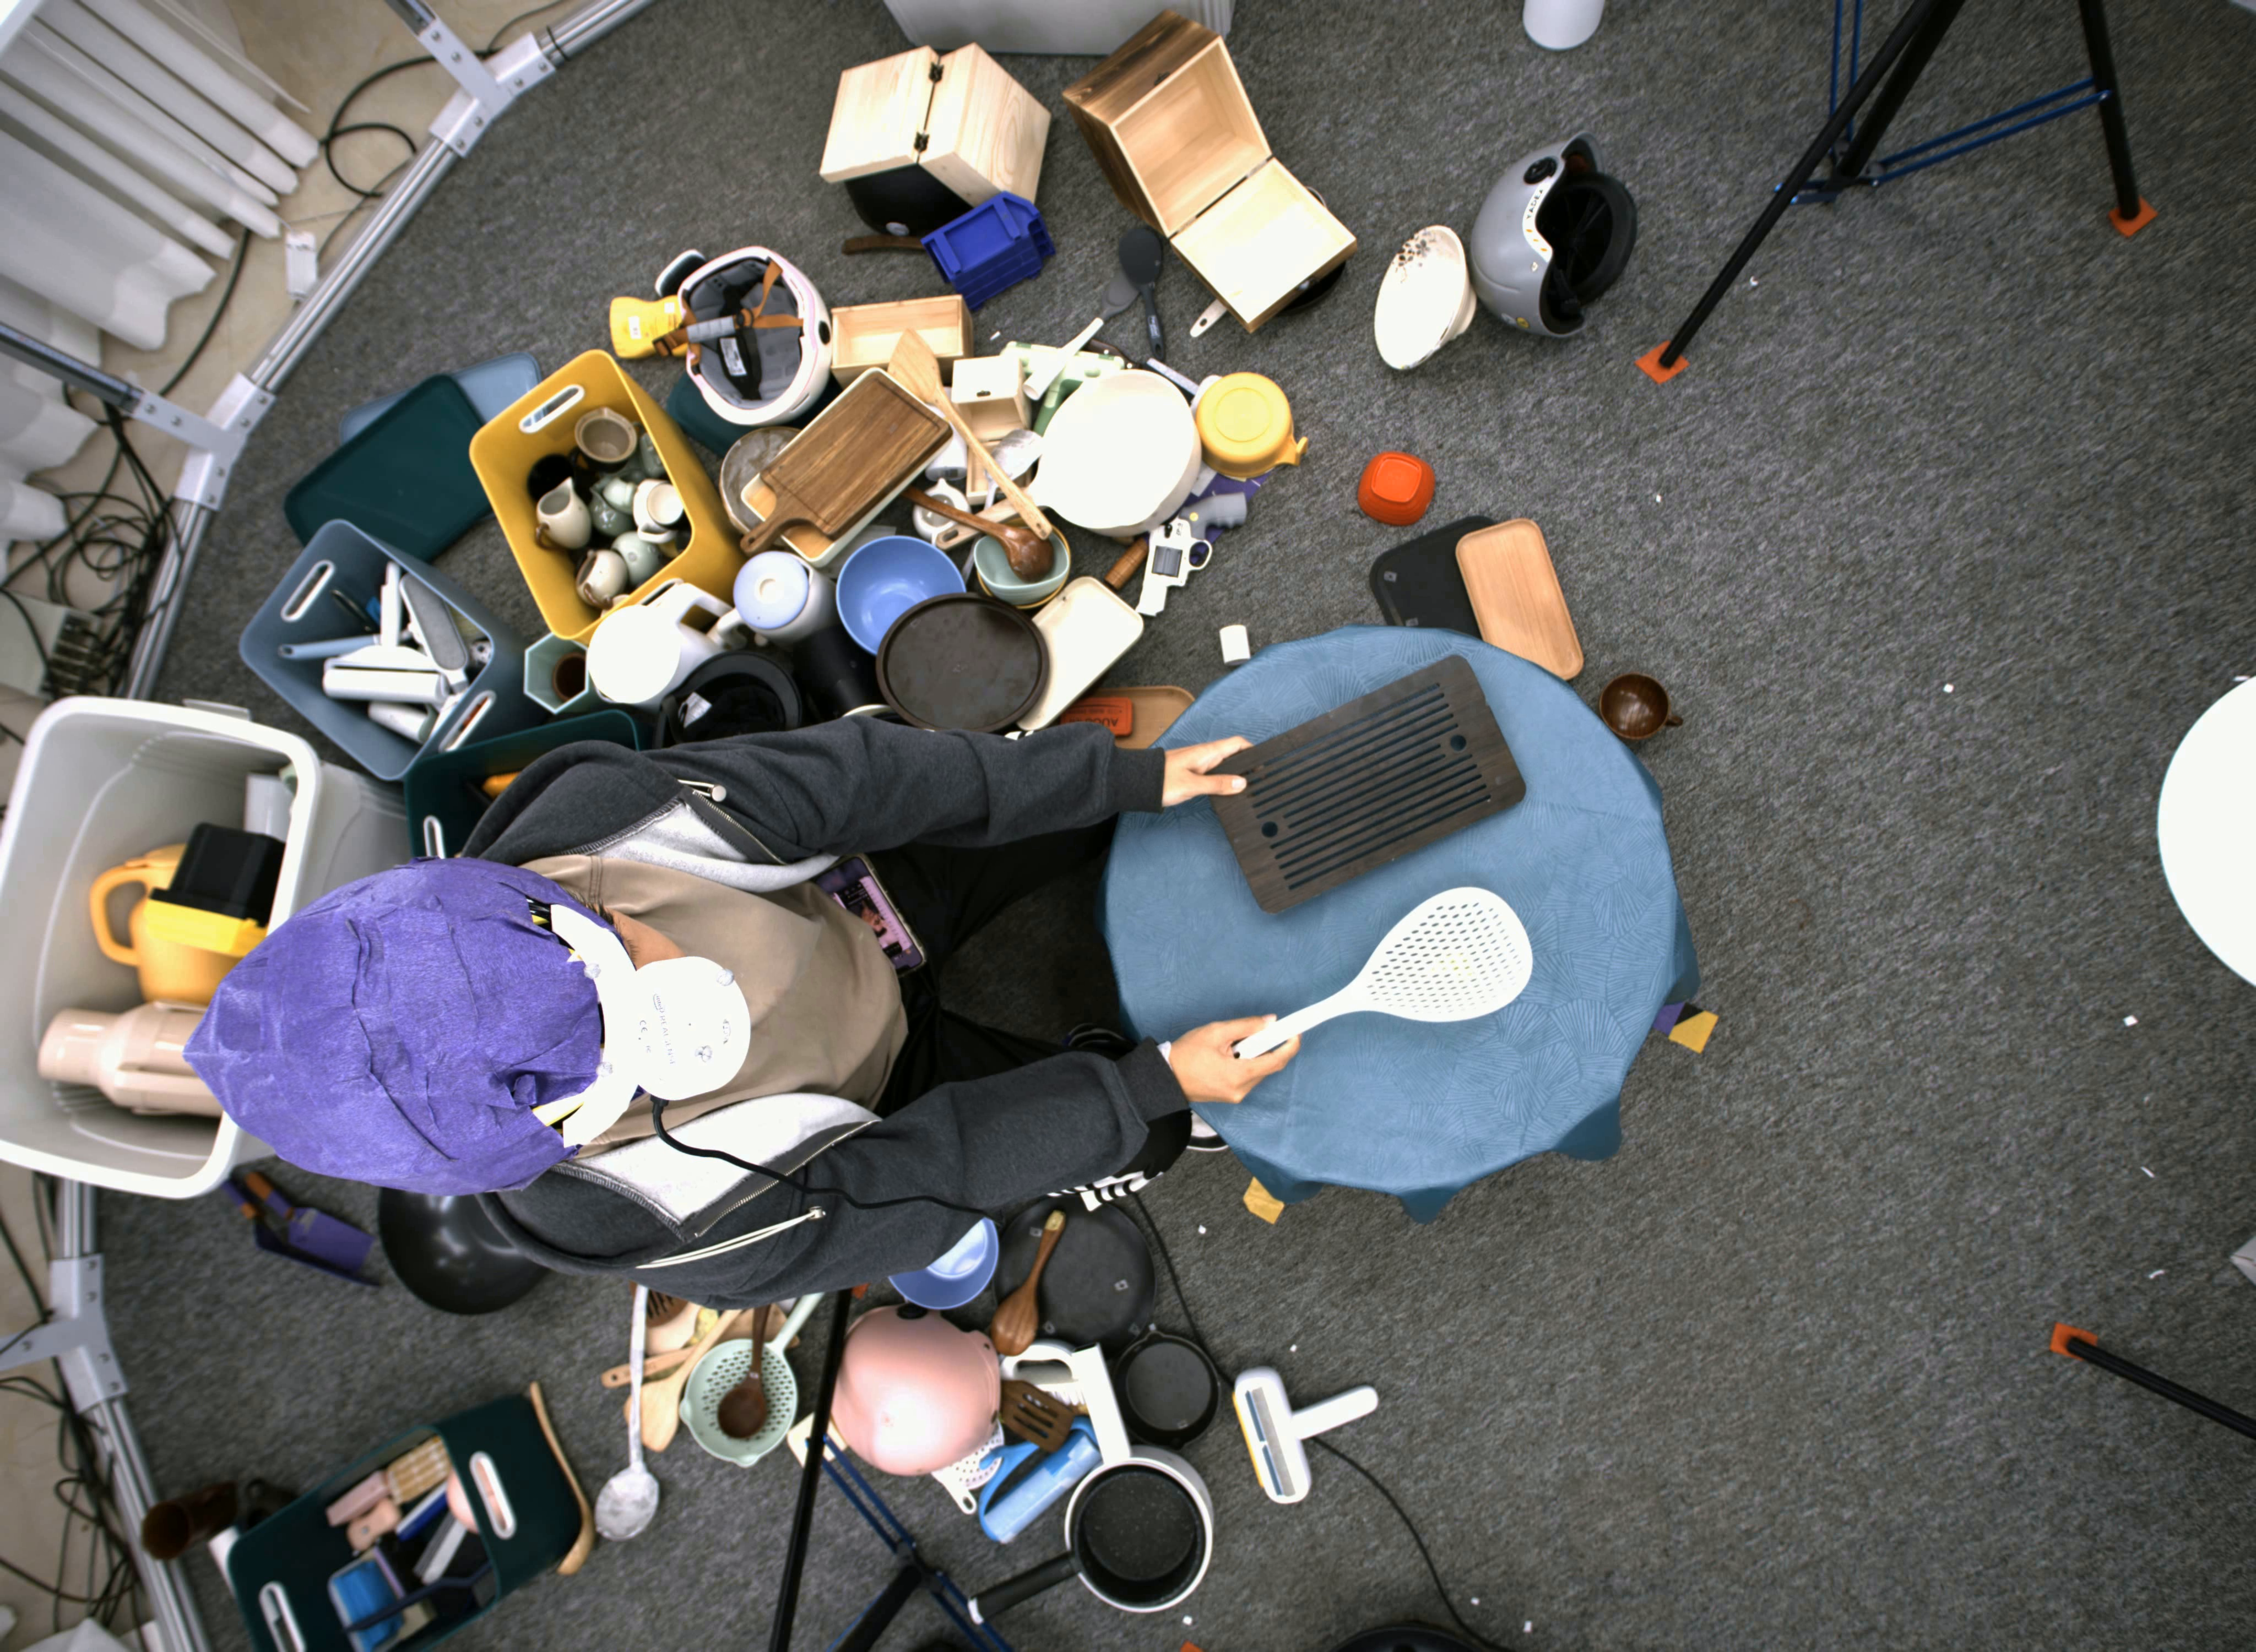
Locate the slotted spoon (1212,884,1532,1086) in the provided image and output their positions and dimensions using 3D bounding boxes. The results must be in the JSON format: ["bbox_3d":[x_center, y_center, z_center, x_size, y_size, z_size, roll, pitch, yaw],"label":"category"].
[{"bbox_3d":[0.238,0.175,1.401,0.349,0.051,0.134,-25,62,5],"label":"slotted spoon"}]

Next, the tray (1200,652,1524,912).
[{"bbox_3d":[0.243,-0.047,1.435,0.307,0.018,0.170,-25,90,4],"label":"tray"}]
